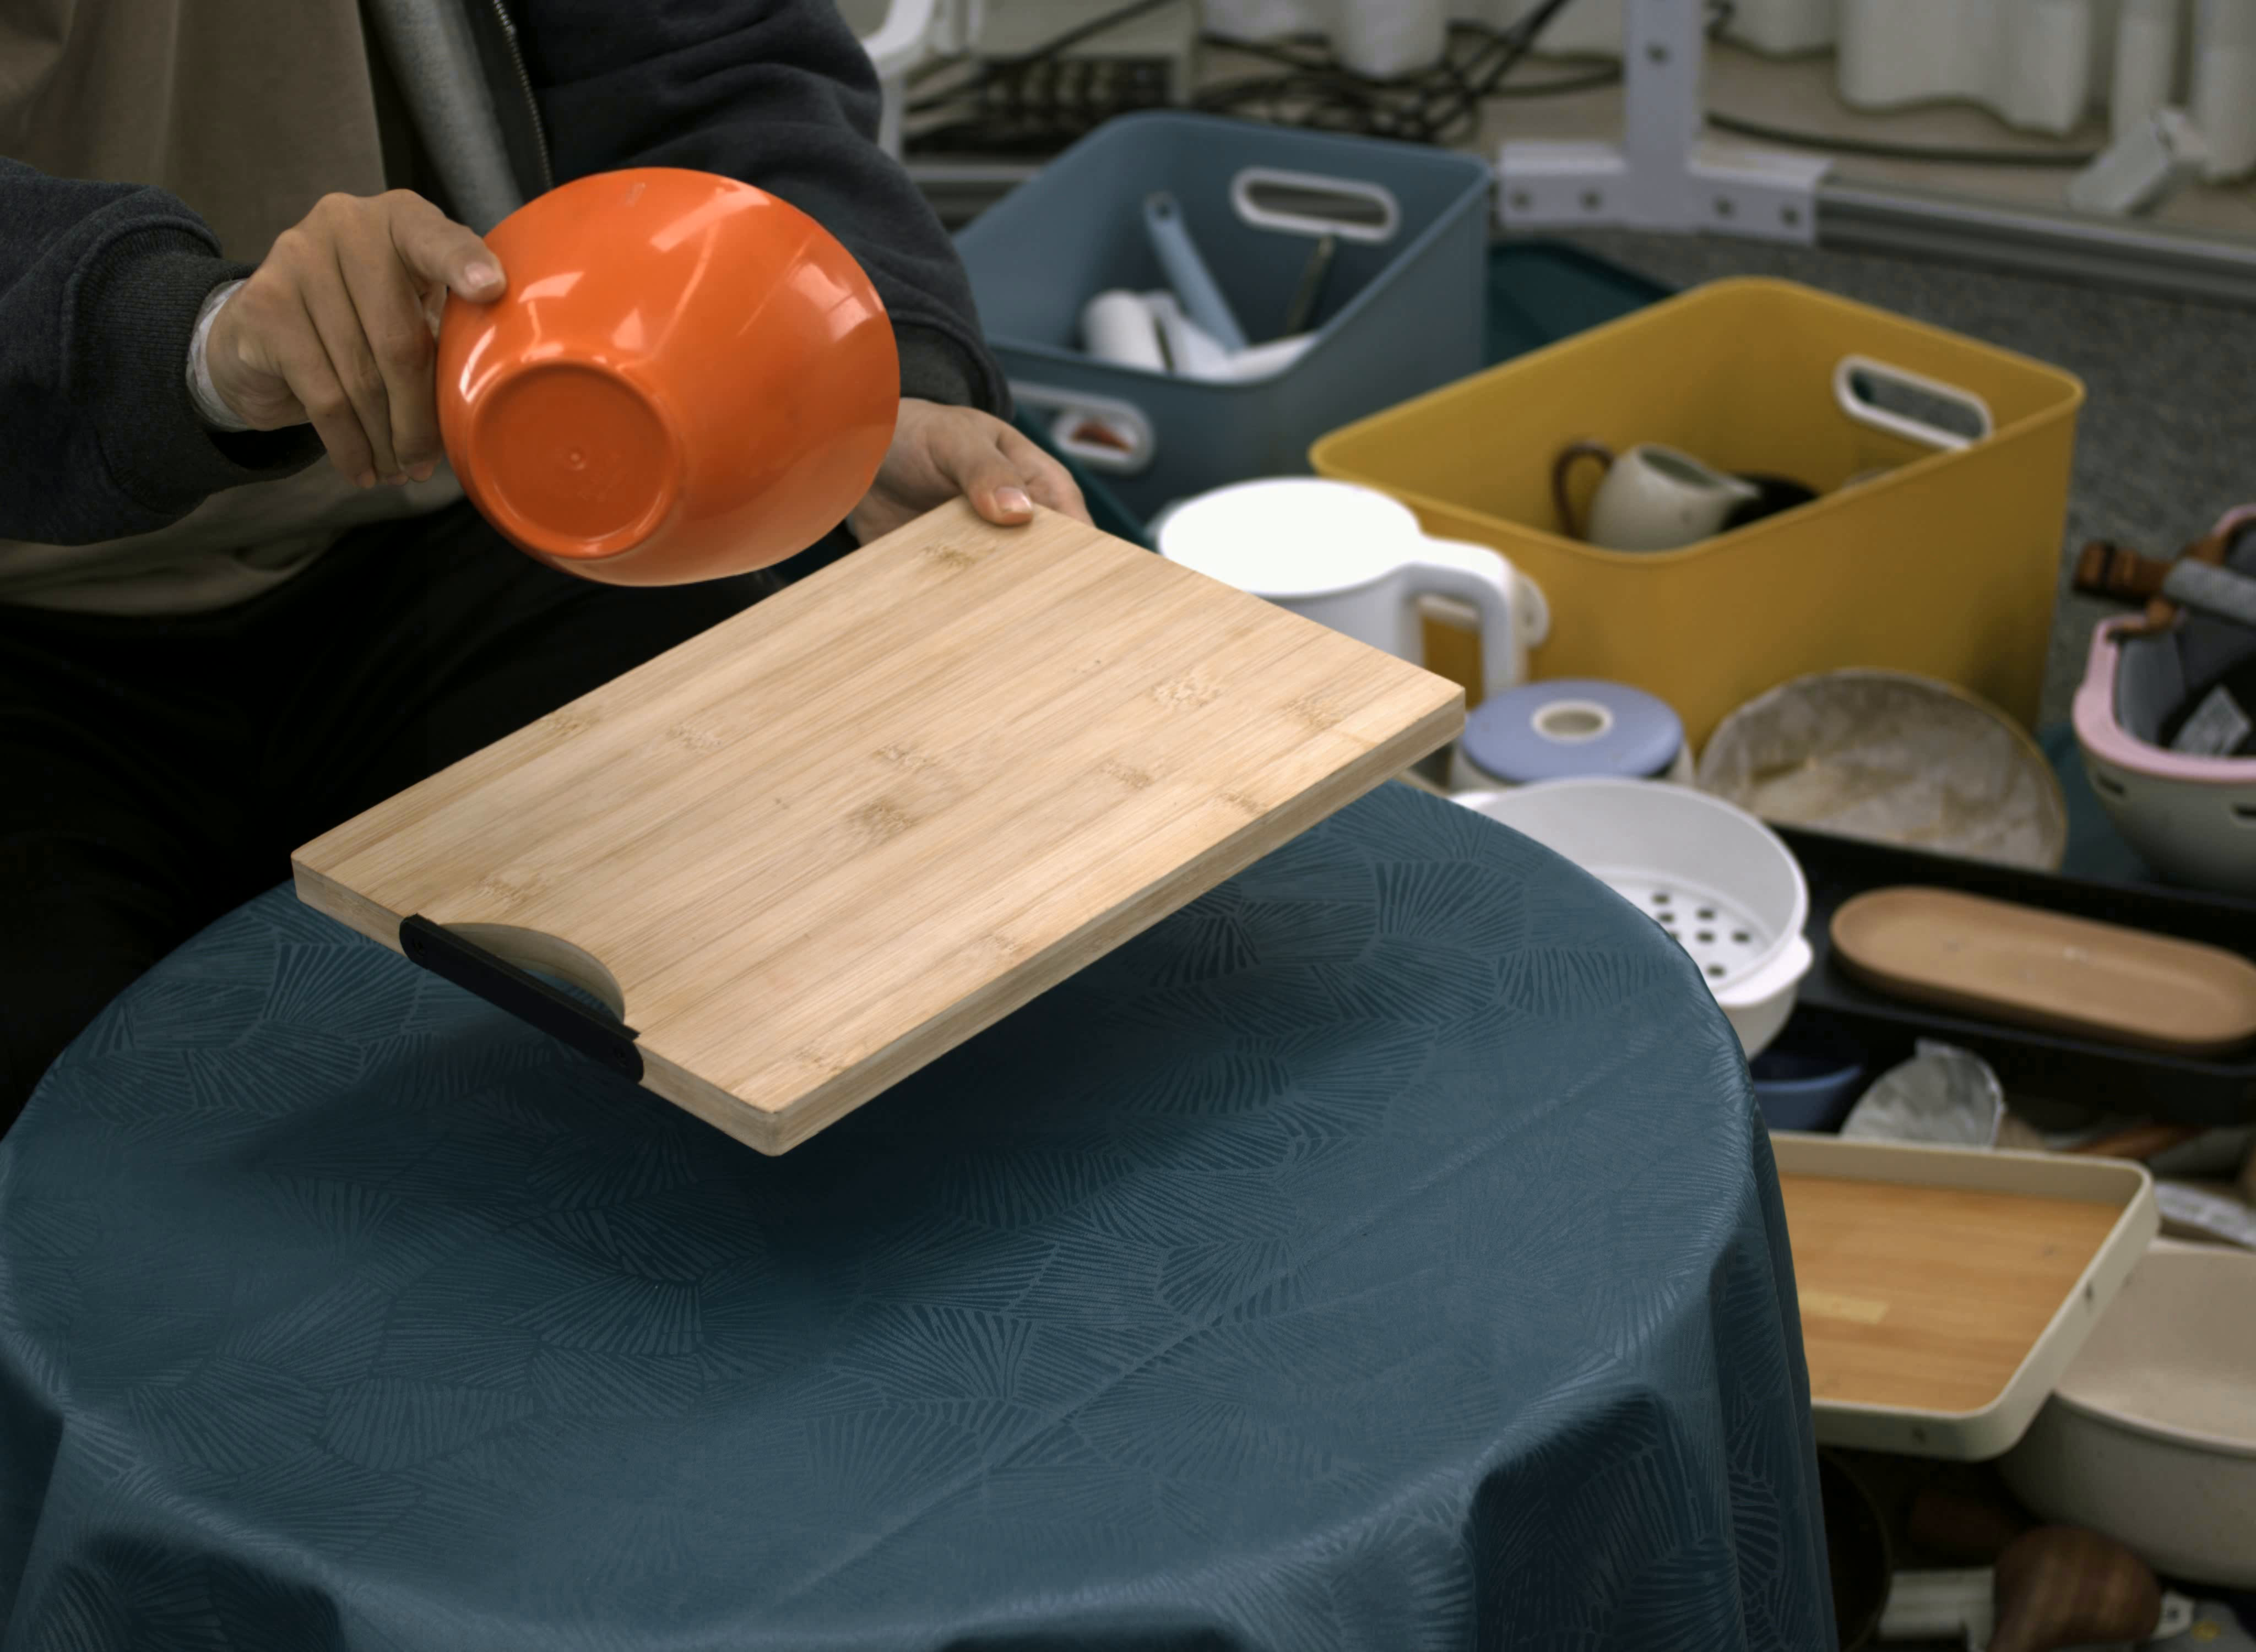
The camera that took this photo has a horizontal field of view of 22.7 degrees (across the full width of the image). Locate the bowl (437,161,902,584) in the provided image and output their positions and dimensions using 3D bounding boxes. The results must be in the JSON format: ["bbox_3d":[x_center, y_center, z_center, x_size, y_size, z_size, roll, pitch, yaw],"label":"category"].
[{"bbox_3d":[-0.153,-0.128,1.770,0.147,0.146,0.106,3,25,10],"label":"bowl"}]

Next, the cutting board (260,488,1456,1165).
[{"bbox_3d":[-0.087,-0.009,1.937,0.250,0.023,0.353,23,39,36],"label":"cutting board"}]
